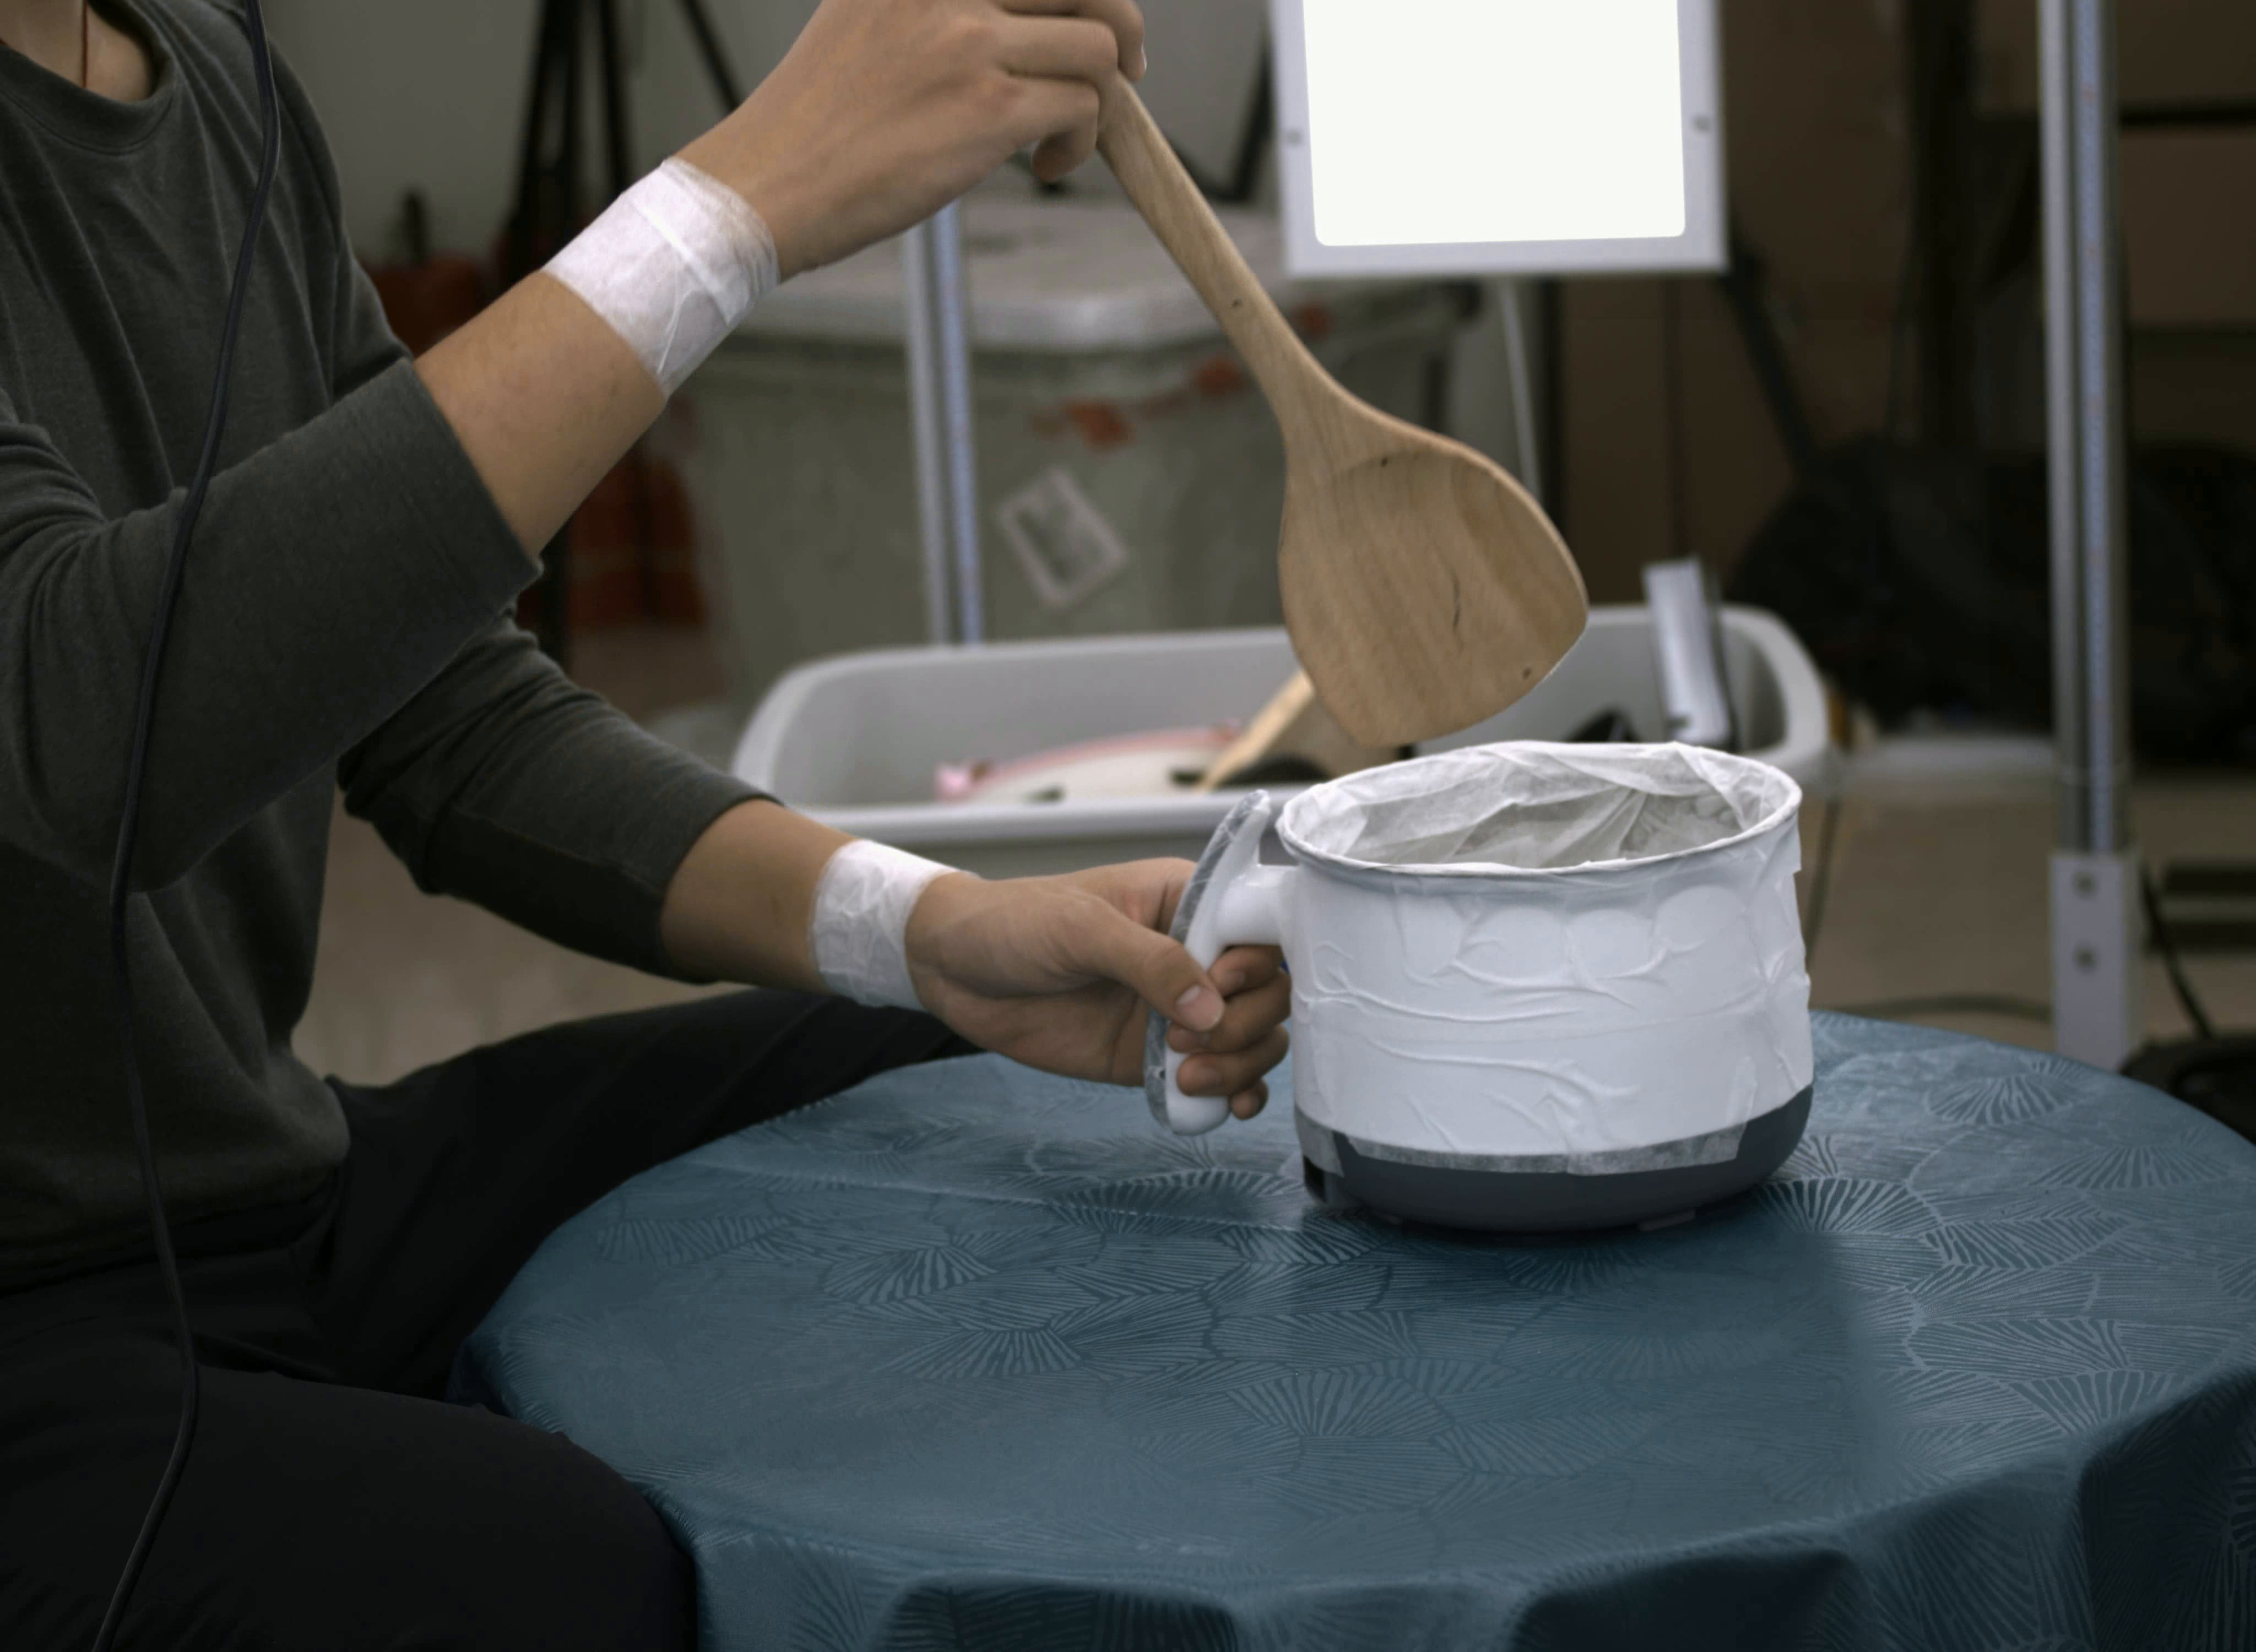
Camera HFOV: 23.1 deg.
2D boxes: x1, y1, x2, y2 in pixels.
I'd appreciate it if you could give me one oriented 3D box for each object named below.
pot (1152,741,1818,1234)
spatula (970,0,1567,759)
[{"bbox_3d":[0.118,0.054,1.870,0.237,0.137,0.176,-1,15,19],"label":"pot"},{"bbox_3d":[0.008,-0.185,1.702,0.097,0.388,0.018,-29,22,16],"label":"spatula"}]
